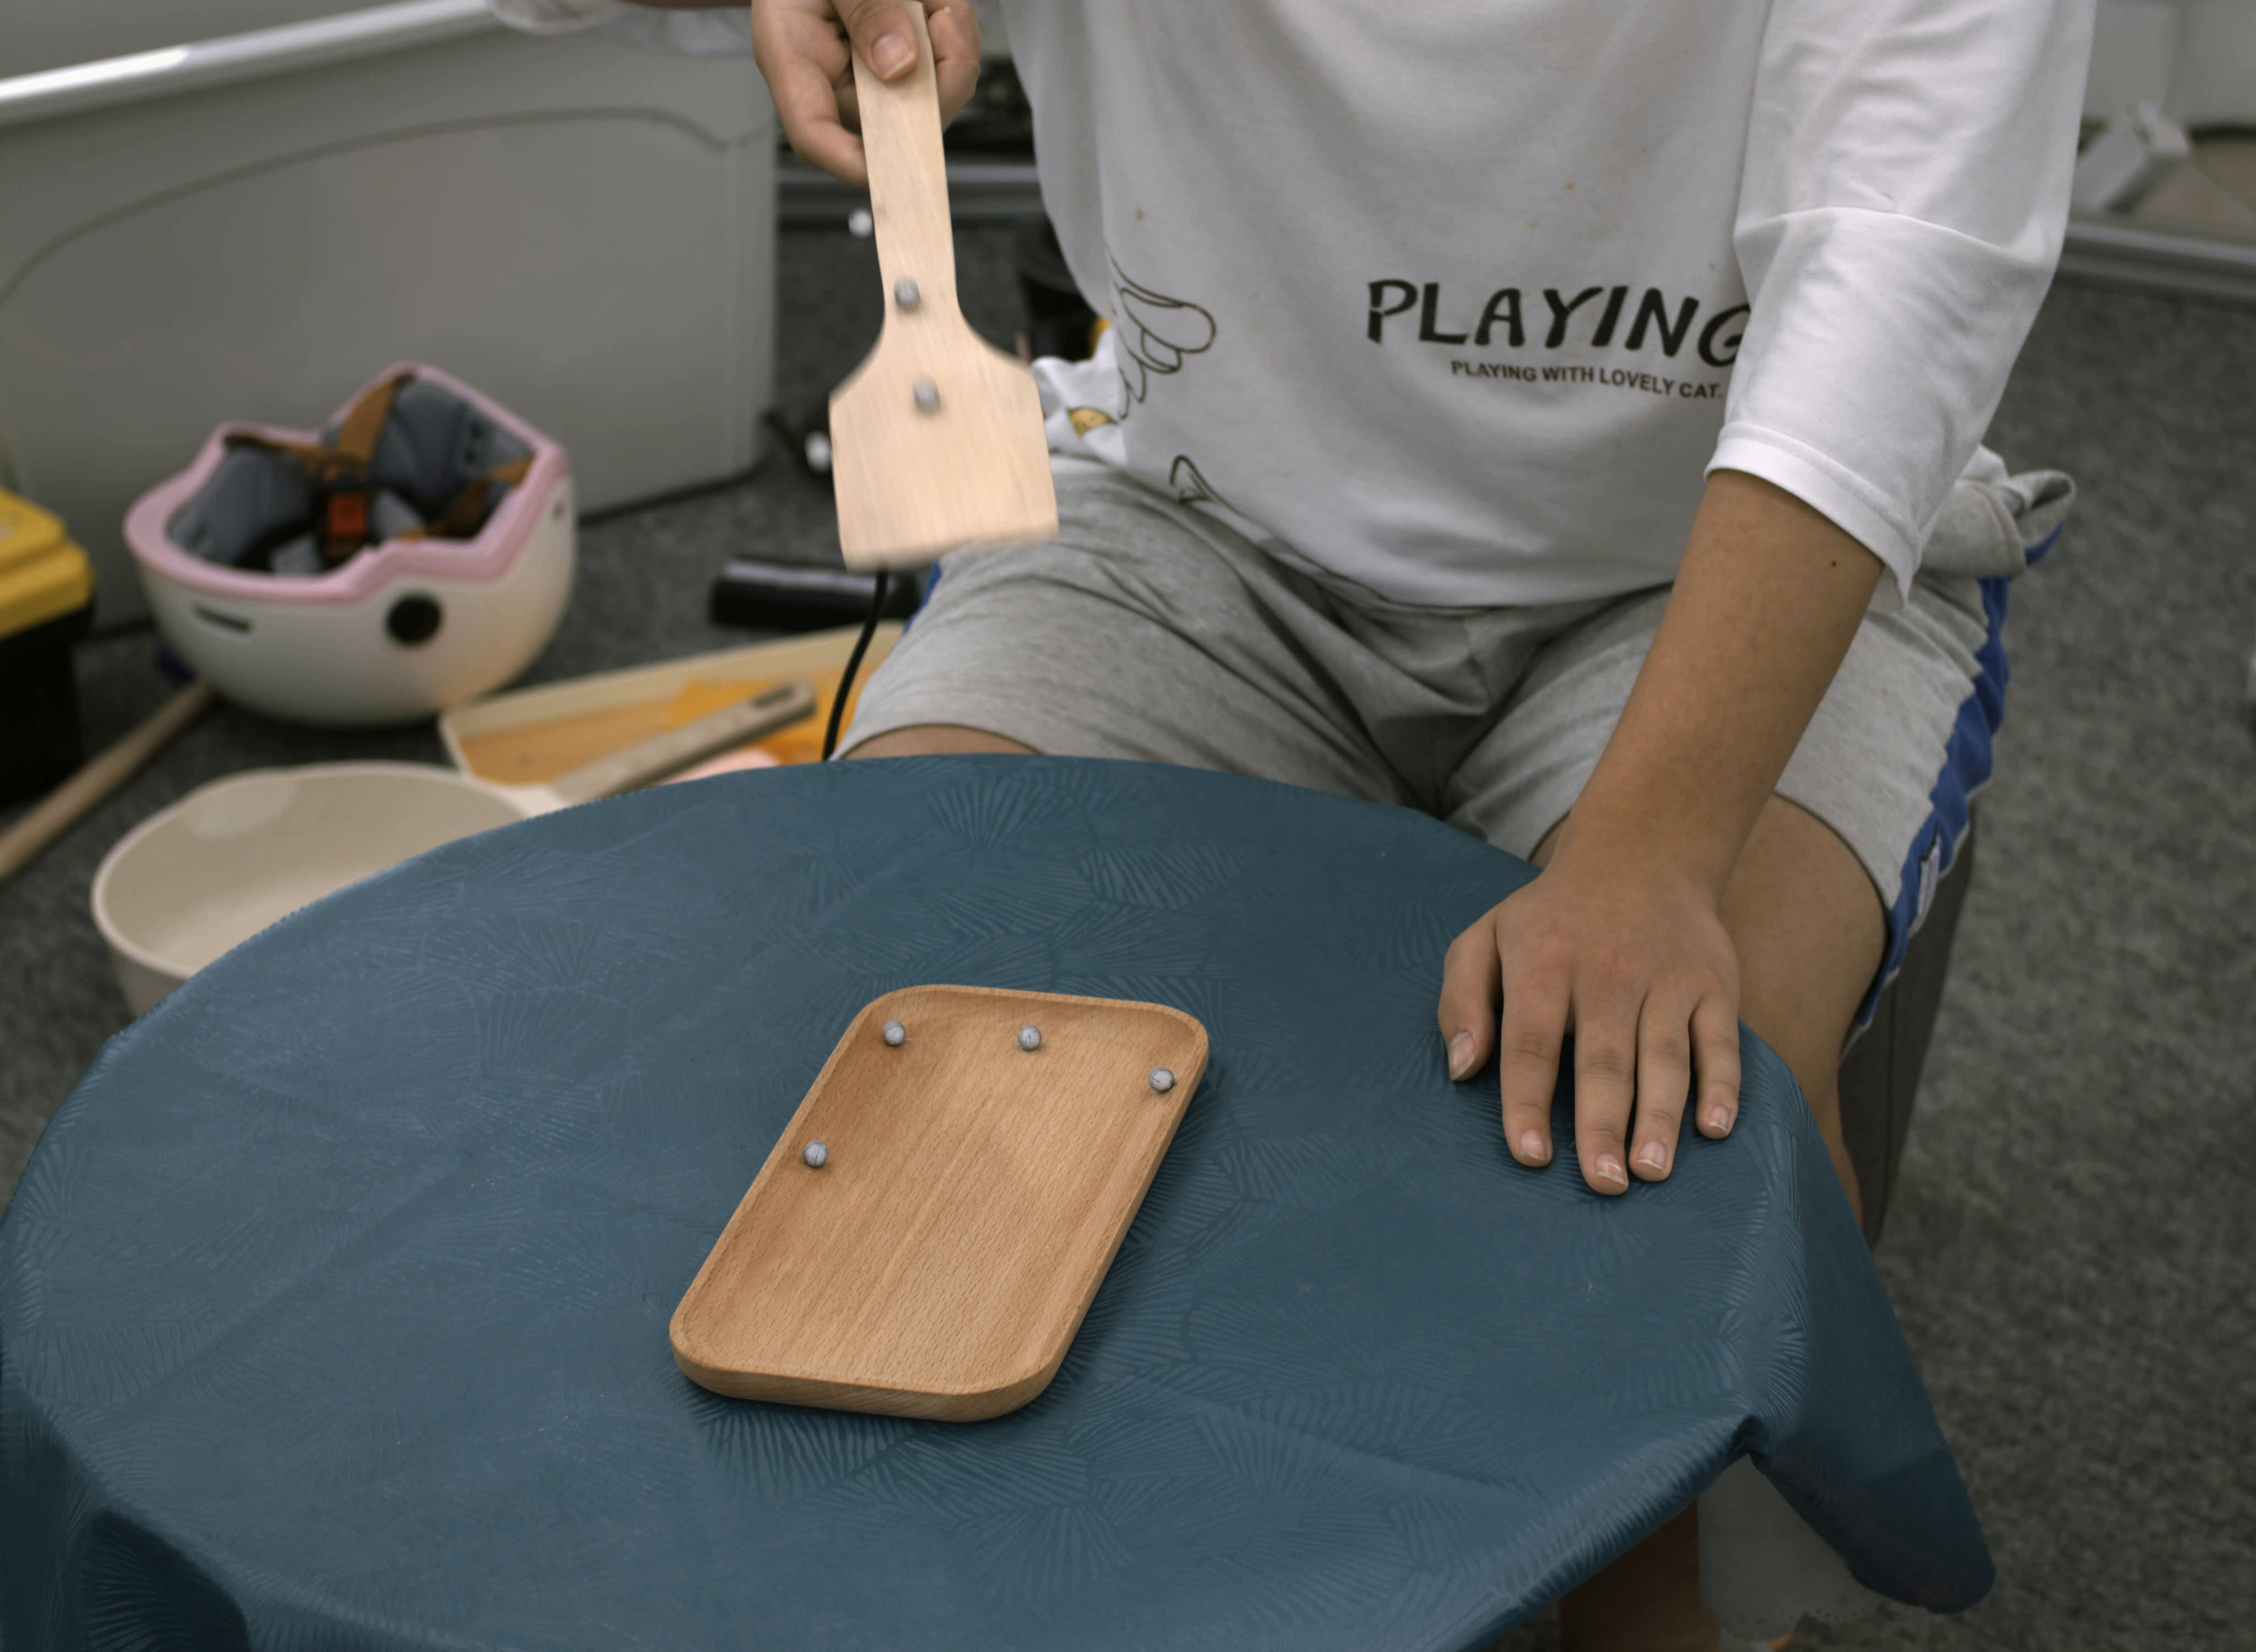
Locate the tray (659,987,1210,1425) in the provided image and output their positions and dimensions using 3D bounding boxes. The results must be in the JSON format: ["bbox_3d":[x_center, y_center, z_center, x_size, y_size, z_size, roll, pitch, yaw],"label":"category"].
[{"bbox_3d":[-0.060,0.122,1.851,0.129,0.022,0.255,3,28,16],"label":"tray"}]

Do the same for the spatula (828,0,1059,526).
[{"bbox_3d":[-0.070,-0.194,1.875,0.072,0.010,0.298,-8,42,-1],"label":"spatula"}]
